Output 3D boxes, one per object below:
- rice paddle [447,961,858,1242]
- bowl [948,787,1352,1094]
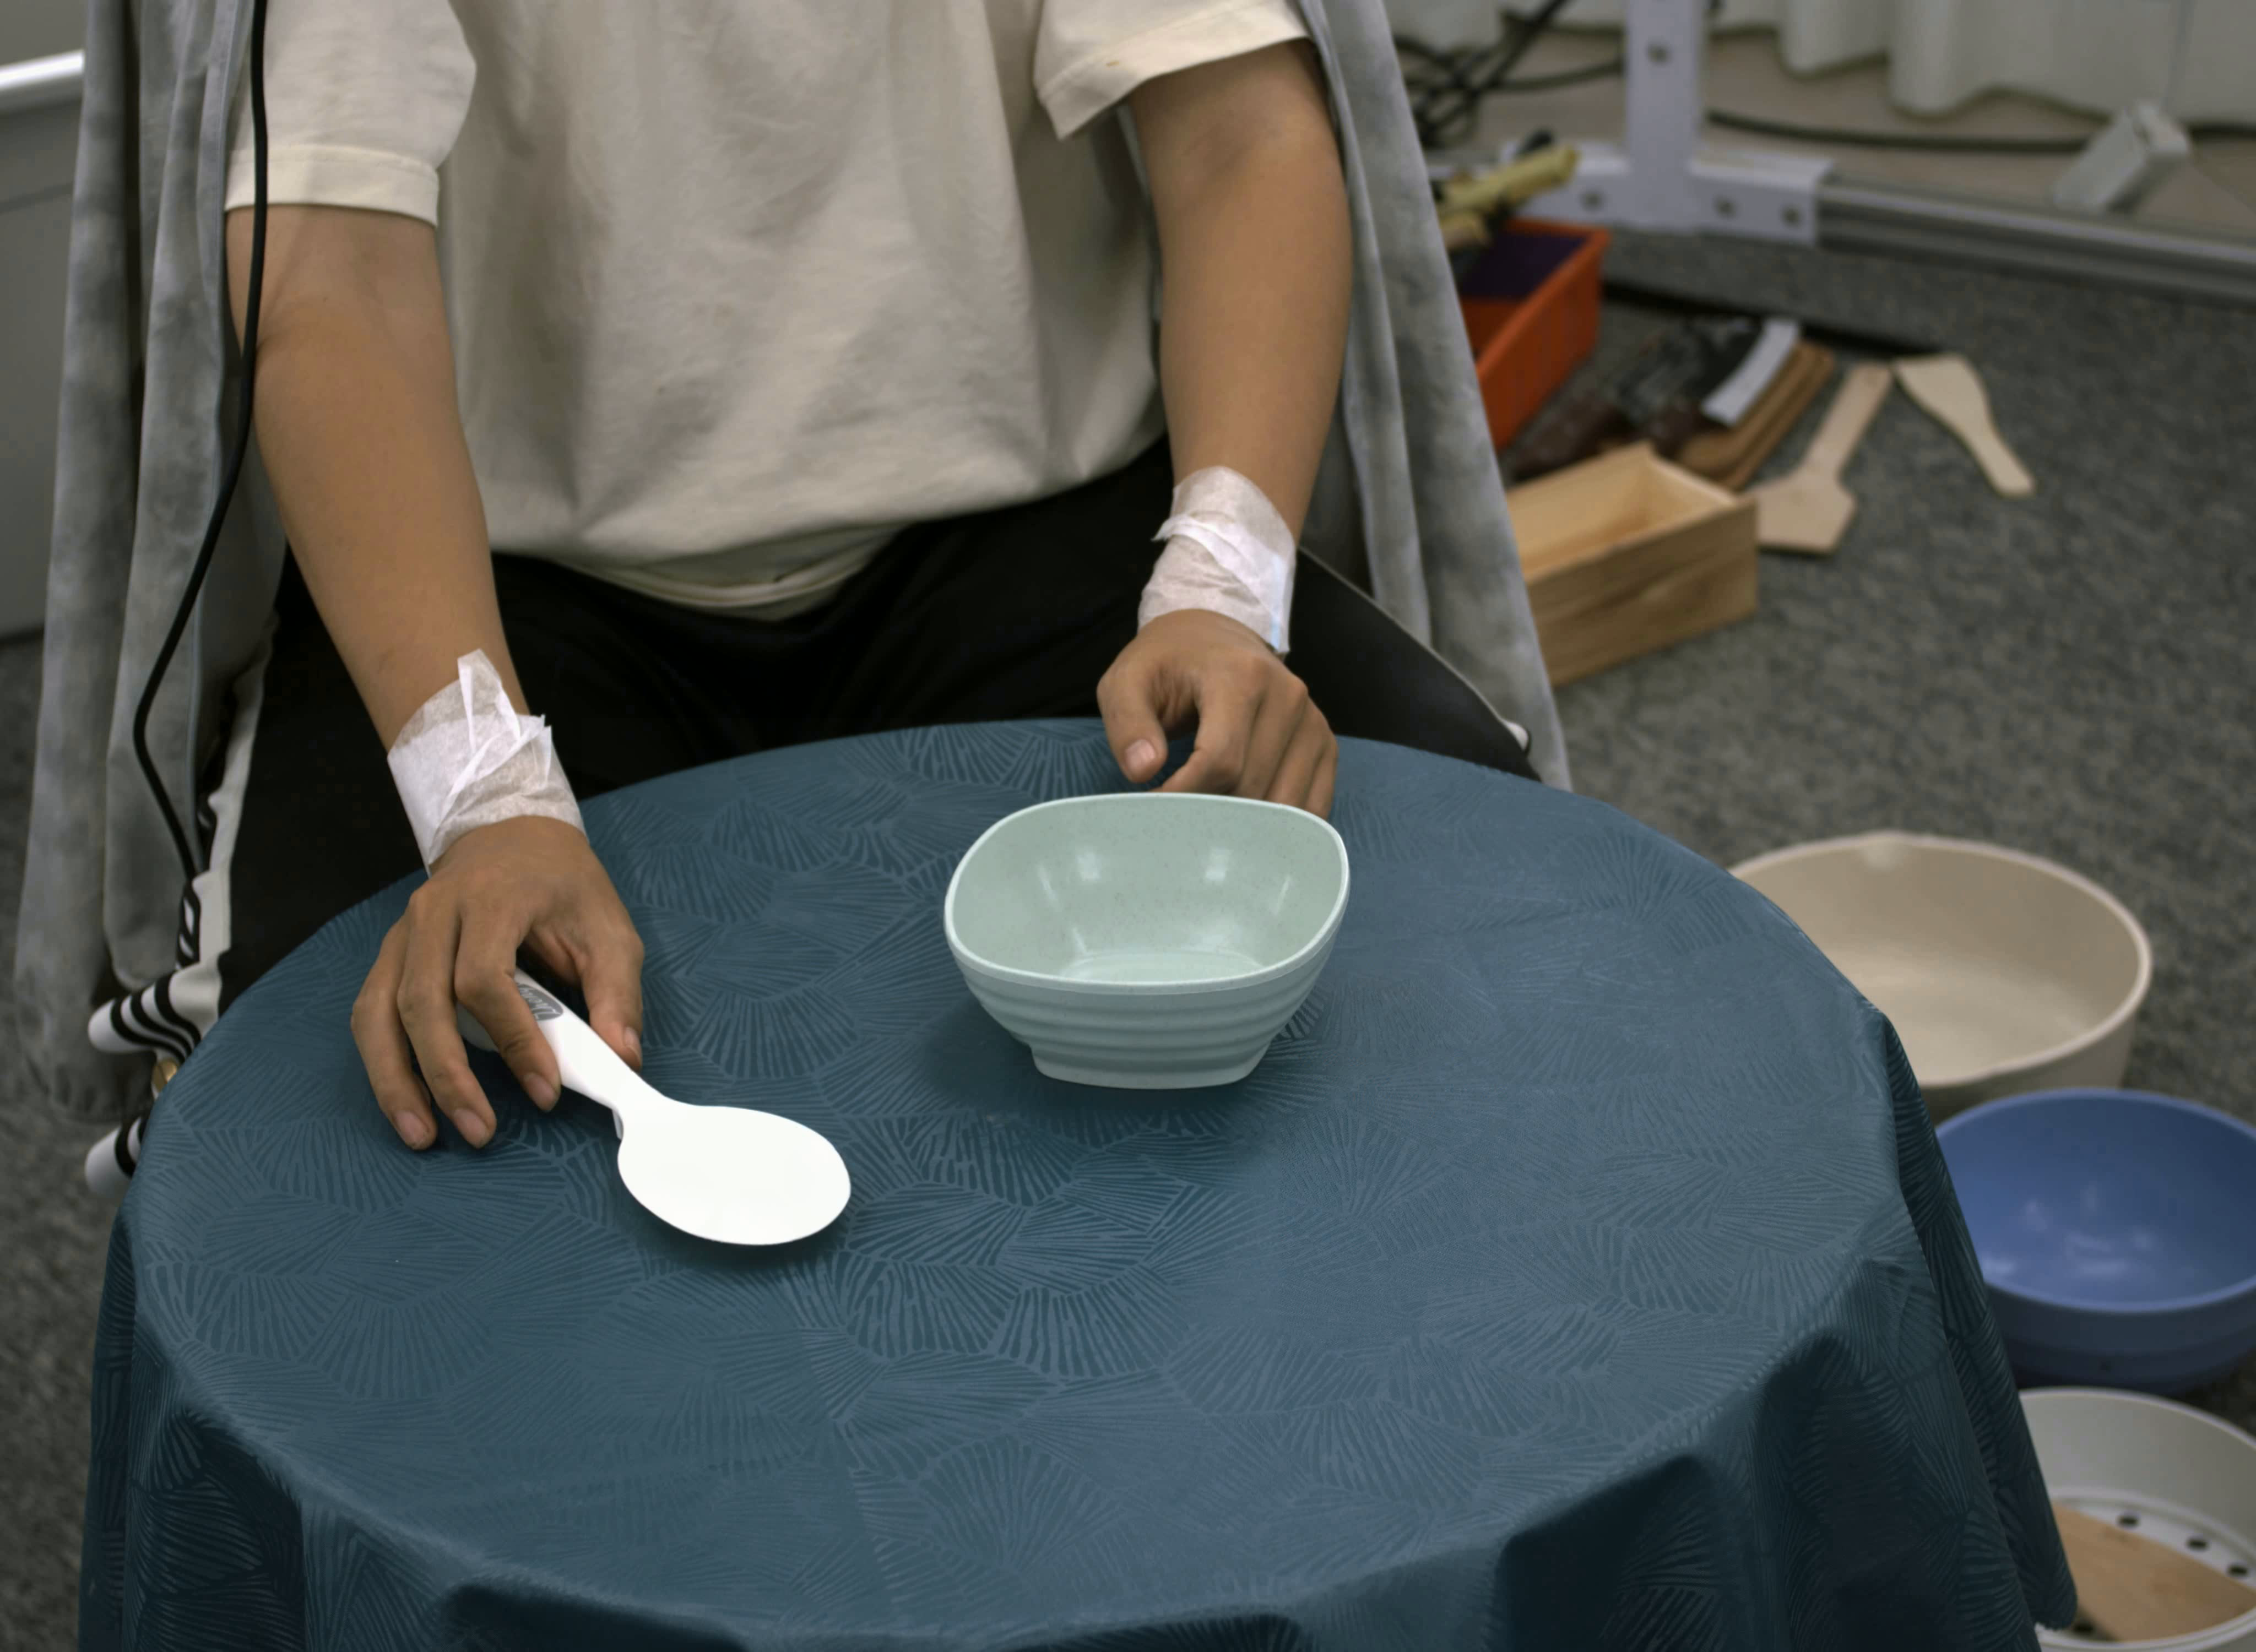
[{"bbox_3d":[-0.163,0.095,1.896,0.069,0.029,0.205,-23,33,-31],"label":"rice paddle"},{"bbox_3d":[0.010,0.046,1.945,0.150,0.058,0.154,-3,29,2],"label":"bowl"}]
